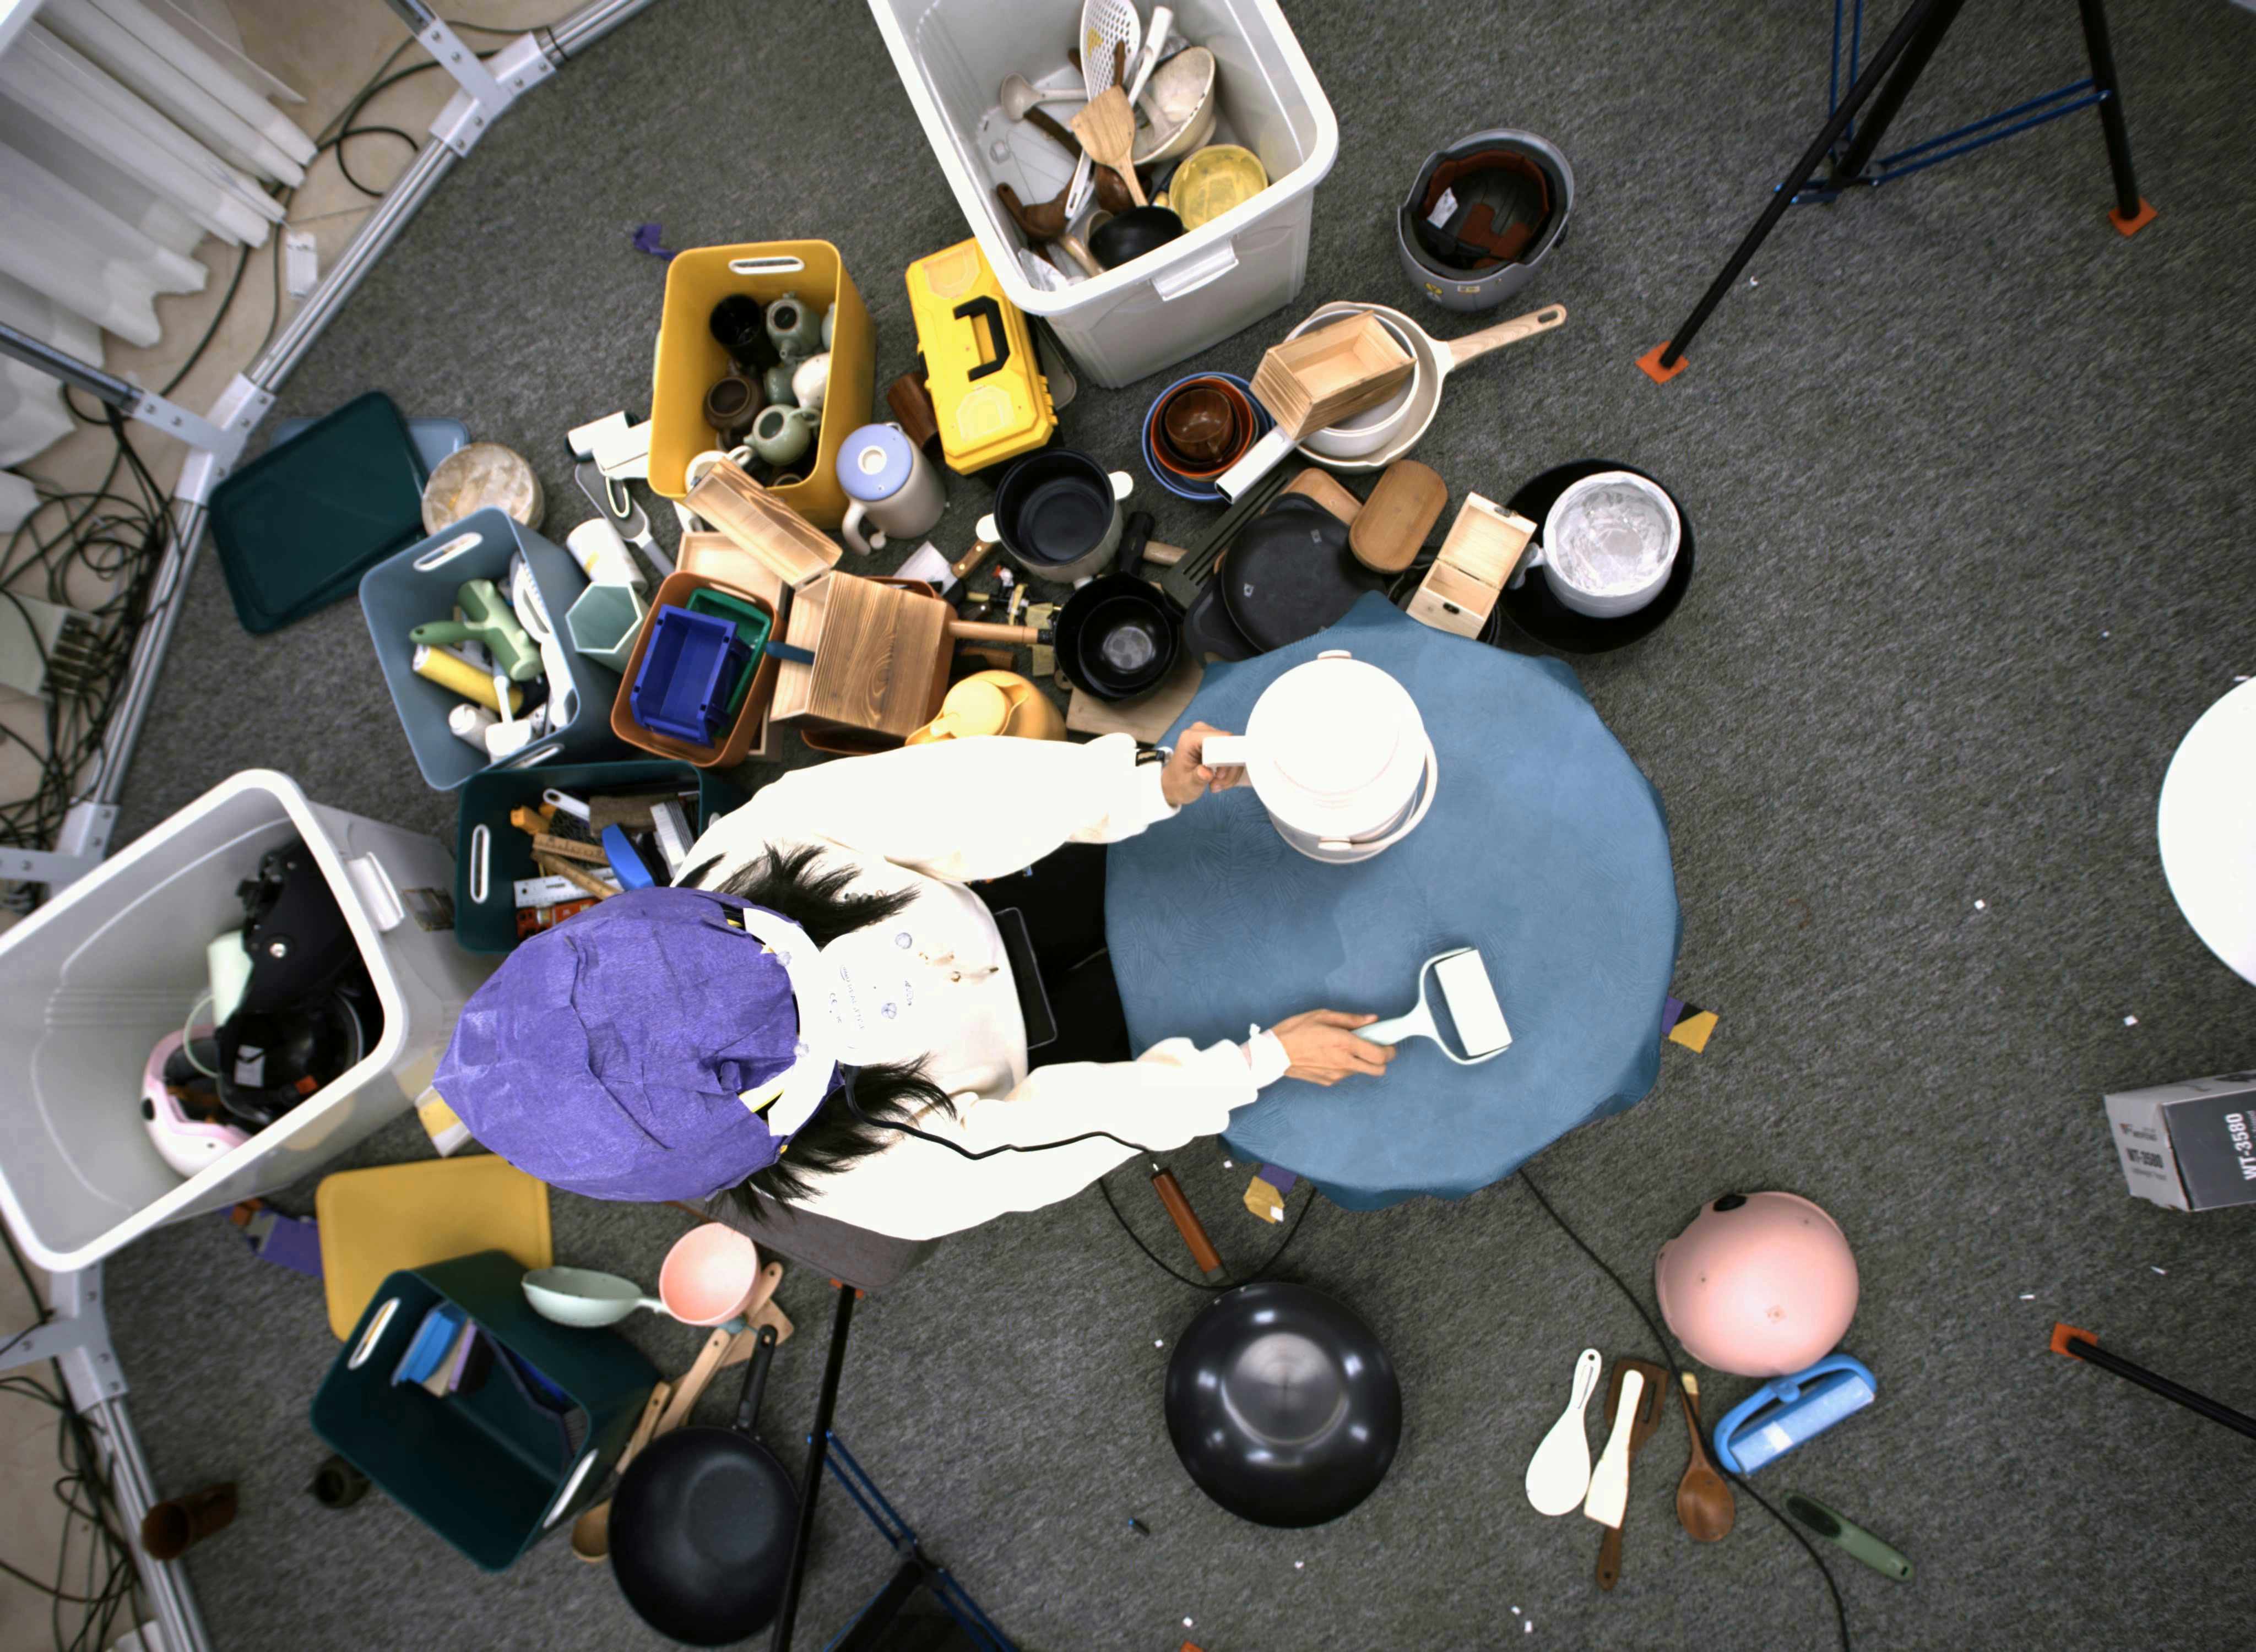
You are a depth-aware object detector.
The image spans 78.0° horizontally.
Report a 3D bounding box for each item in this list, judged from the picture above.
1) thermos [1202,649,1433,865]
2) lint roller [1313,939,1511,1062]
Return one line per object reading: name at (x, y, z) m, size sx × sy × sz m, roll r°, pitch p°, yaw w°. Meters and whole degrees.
thermos at (0.181, -0.061, 1.283) m, size 0.208 × 0.406 × 0.174 m, roll 0°, pitch 85°, yaw 10°
lint roller at (0.283, 0.197, 1.420) m, size 0.198 × 0.048 × 0.116 m, roll -20°, pitch 84°, yaw 4°
